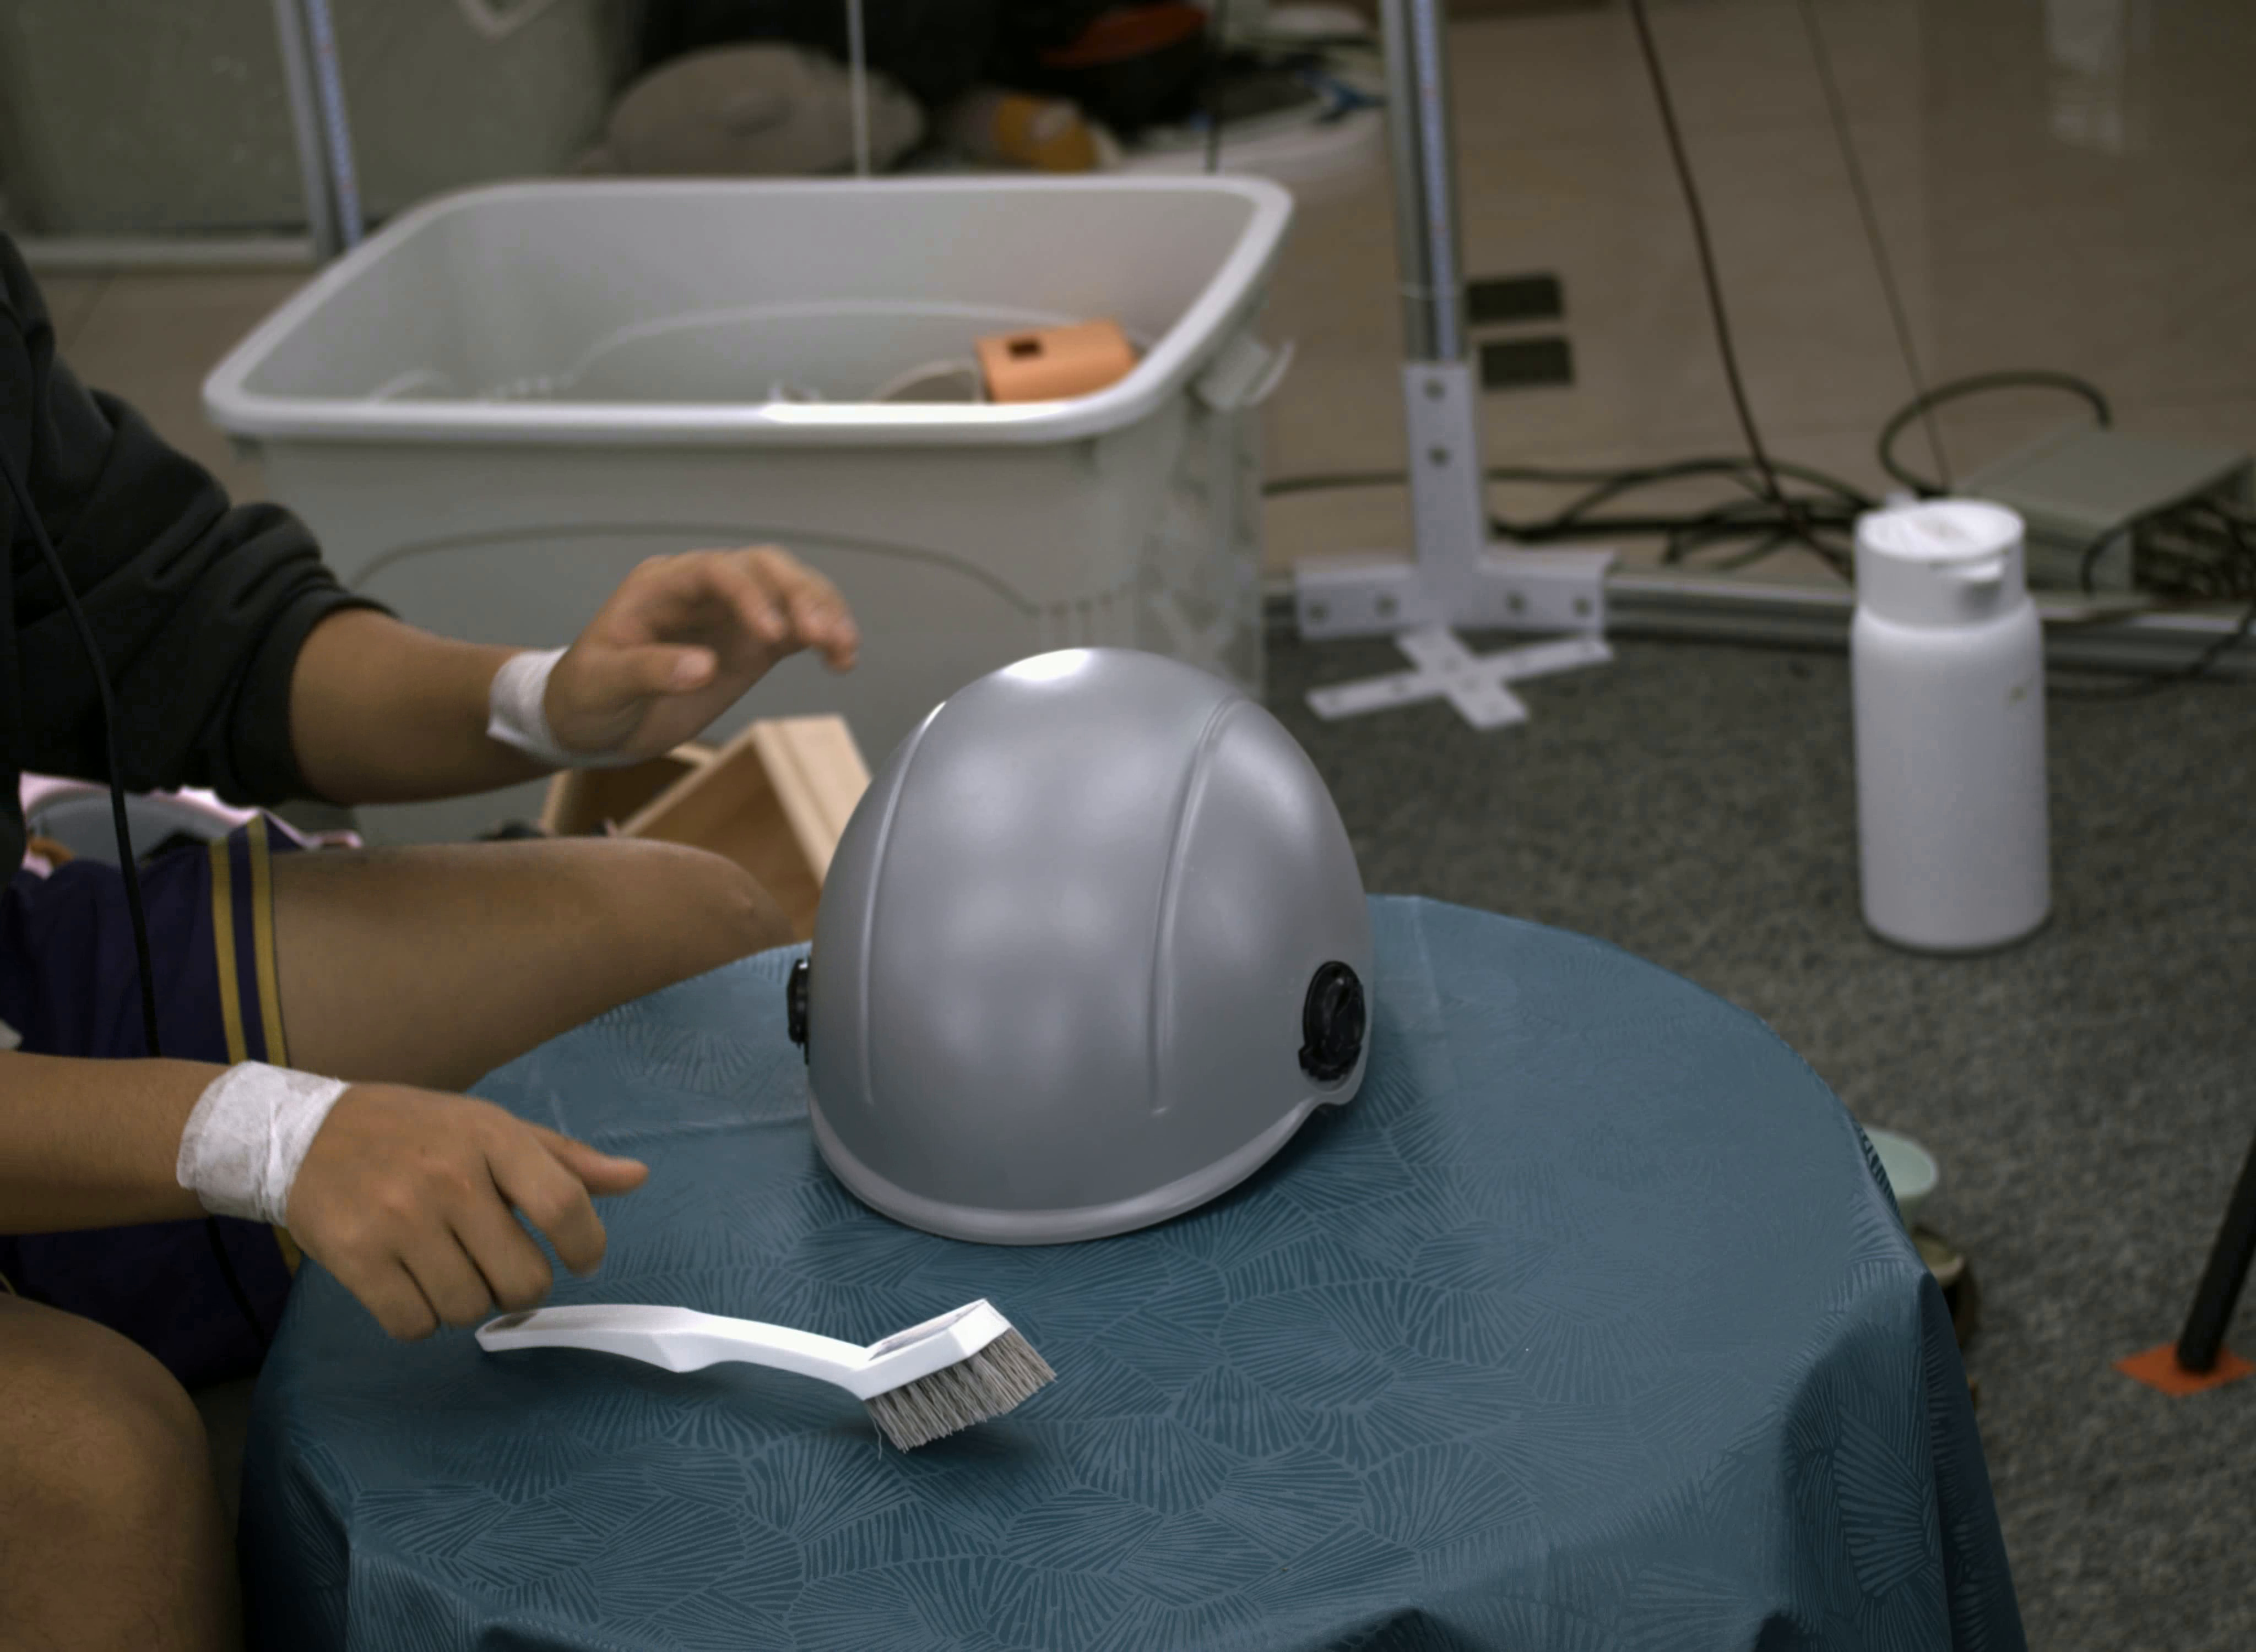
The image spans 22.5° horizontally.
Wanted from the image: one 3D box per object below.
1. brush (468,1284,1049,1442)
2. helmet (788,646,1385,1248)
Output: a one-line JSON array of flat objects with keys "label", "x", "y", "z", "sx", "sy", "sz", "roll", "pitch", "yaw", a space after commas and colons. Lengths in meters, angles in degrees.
[{"label": "brush", "x": -0.135, "y": 0.196, "z": 2.030, "sx": 0.243, "sy": 0.051, "sz": 0.034, "roll": -6, "pitch": 18, "yaw": 34}, {"label": "helmet", "x": -0.019, "y": 0.026, "z": 2.197, "sx": 0.231, "sy": 0.171, "sz": 0.272, "roll": 1, "pitch": 28, "yaw": 15}]
